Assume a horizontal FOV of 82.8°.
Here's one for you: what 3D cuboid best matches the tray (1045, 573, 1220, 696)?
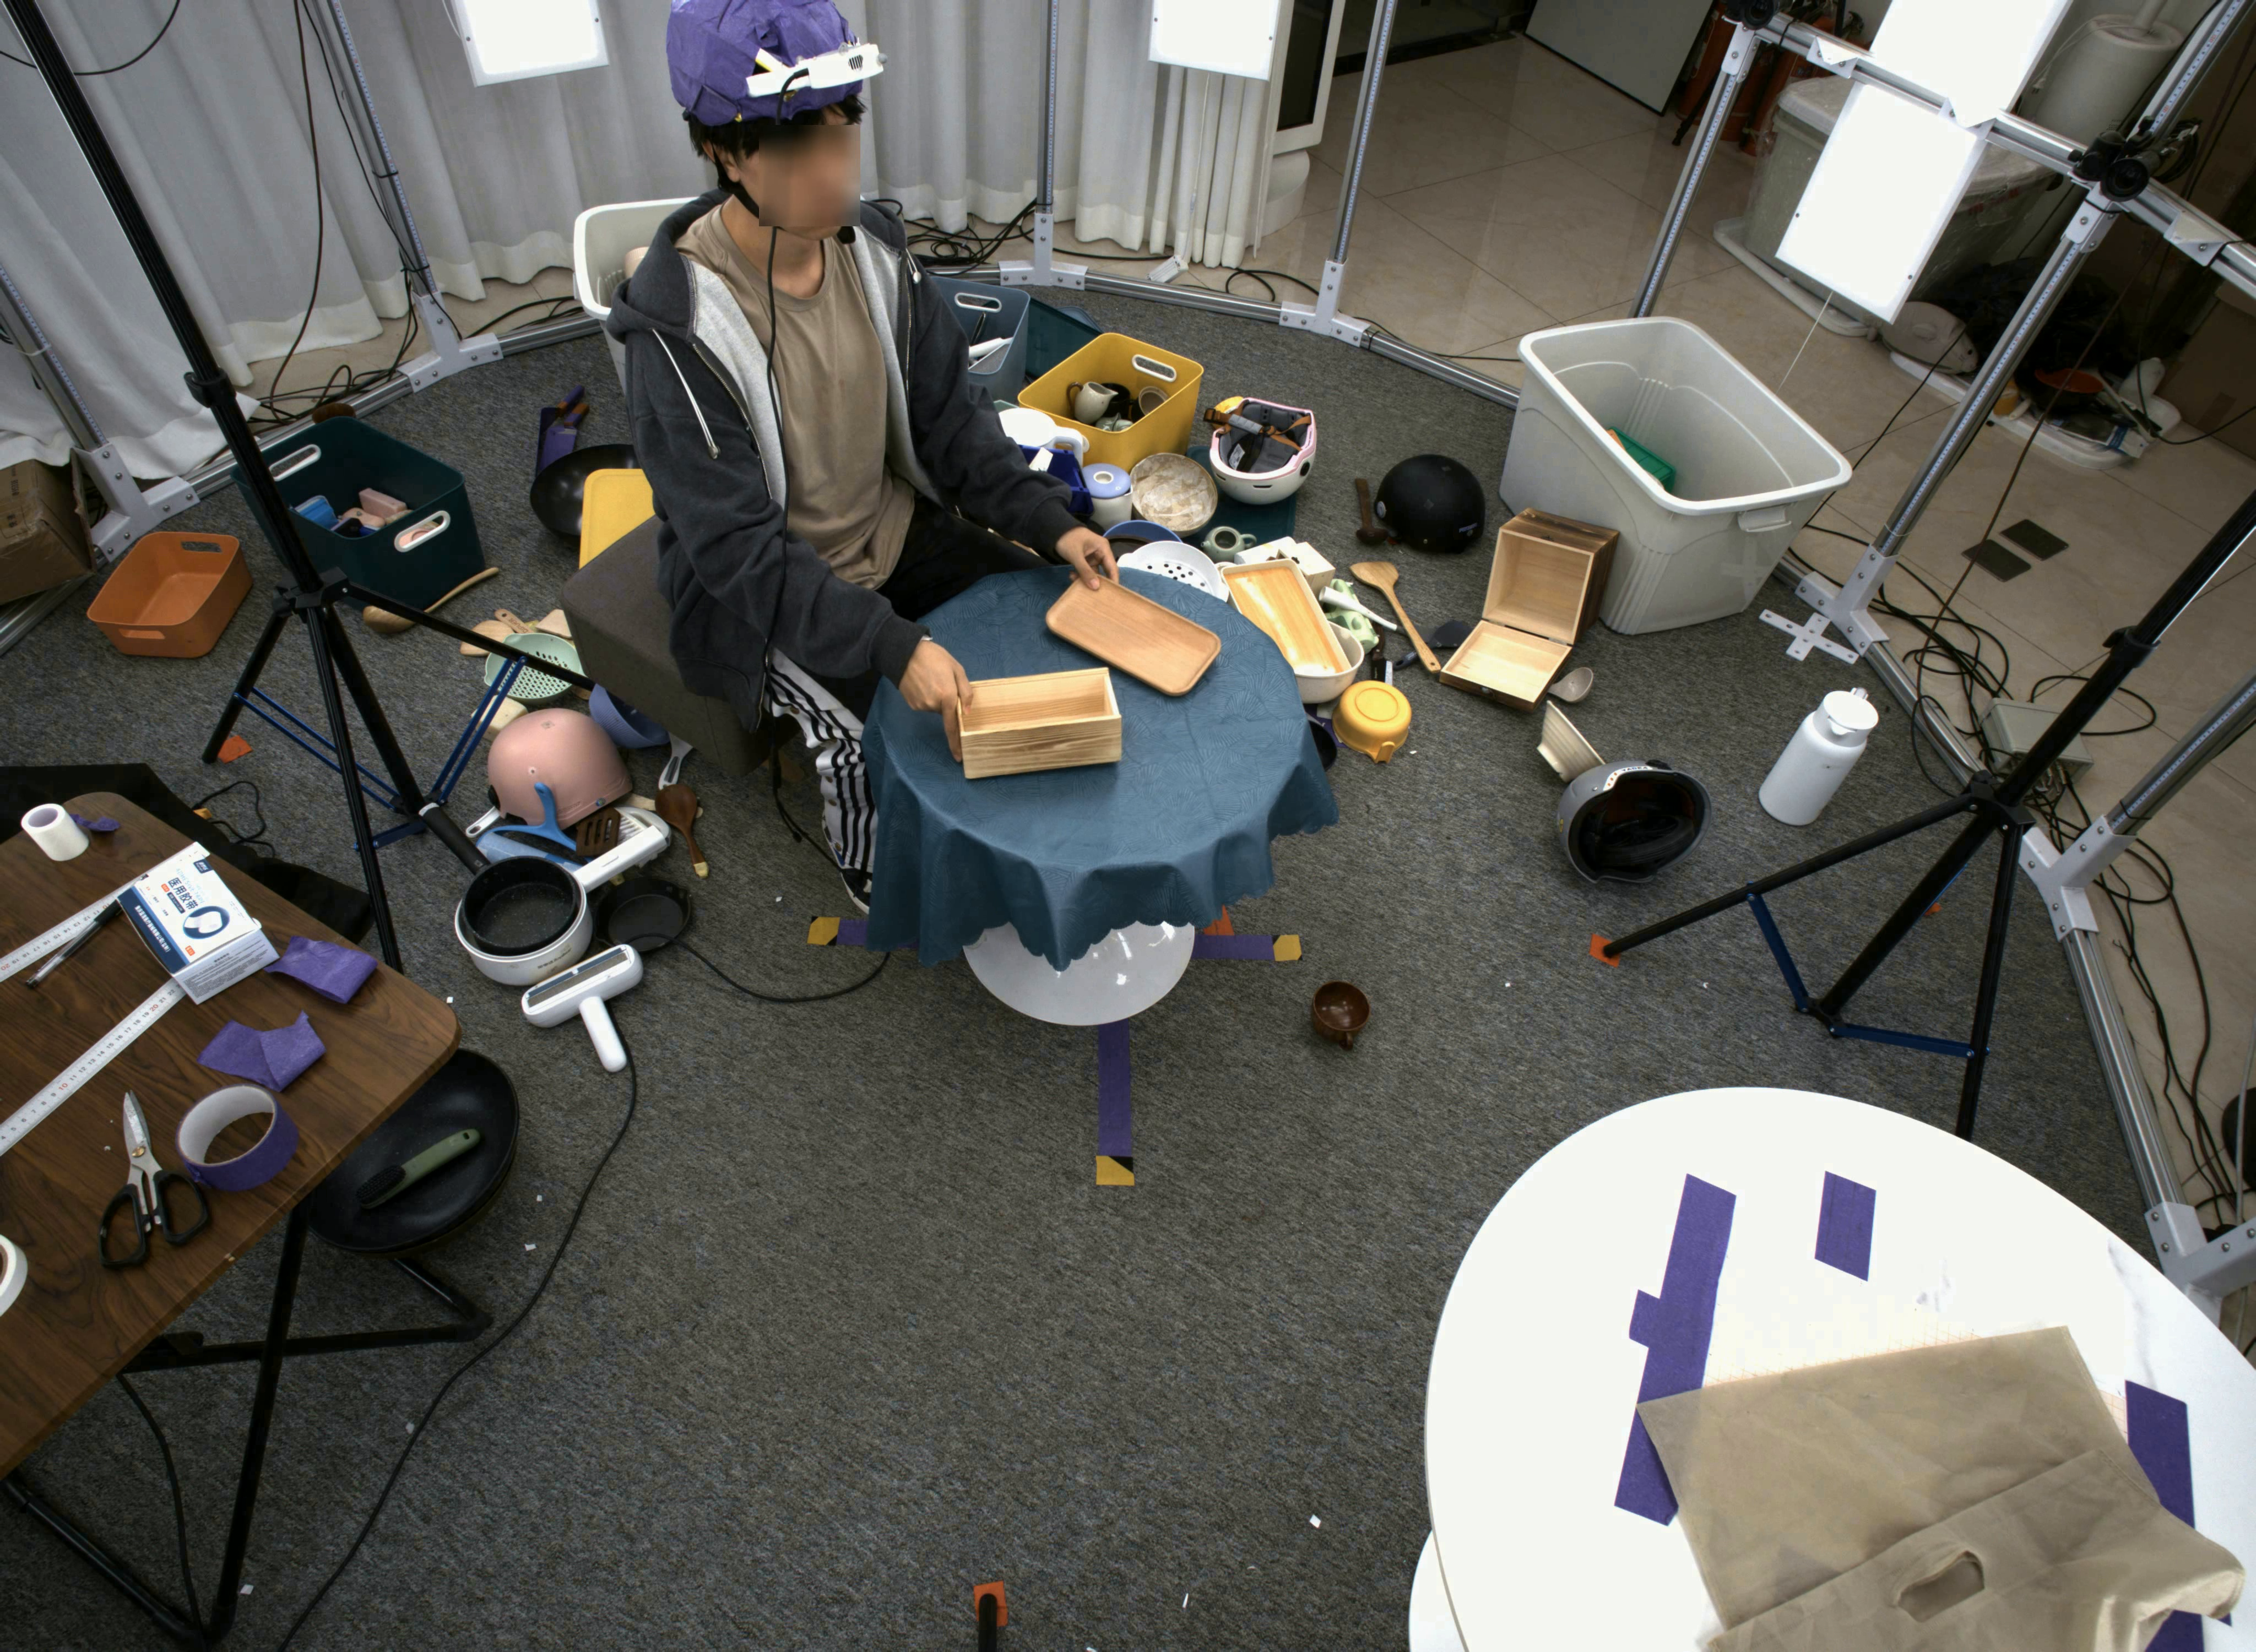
[{"bbox_3d":[0.006,-0.282,1.884,0.253,0.022,0.132,30,61,19],"label":"tray"}]

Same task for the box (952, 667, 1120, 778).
[{"bbox_3d":[-0.123,-0.140,1.719,0.211,0.078,0.110,-7,46,-7],"label":"box"}]
